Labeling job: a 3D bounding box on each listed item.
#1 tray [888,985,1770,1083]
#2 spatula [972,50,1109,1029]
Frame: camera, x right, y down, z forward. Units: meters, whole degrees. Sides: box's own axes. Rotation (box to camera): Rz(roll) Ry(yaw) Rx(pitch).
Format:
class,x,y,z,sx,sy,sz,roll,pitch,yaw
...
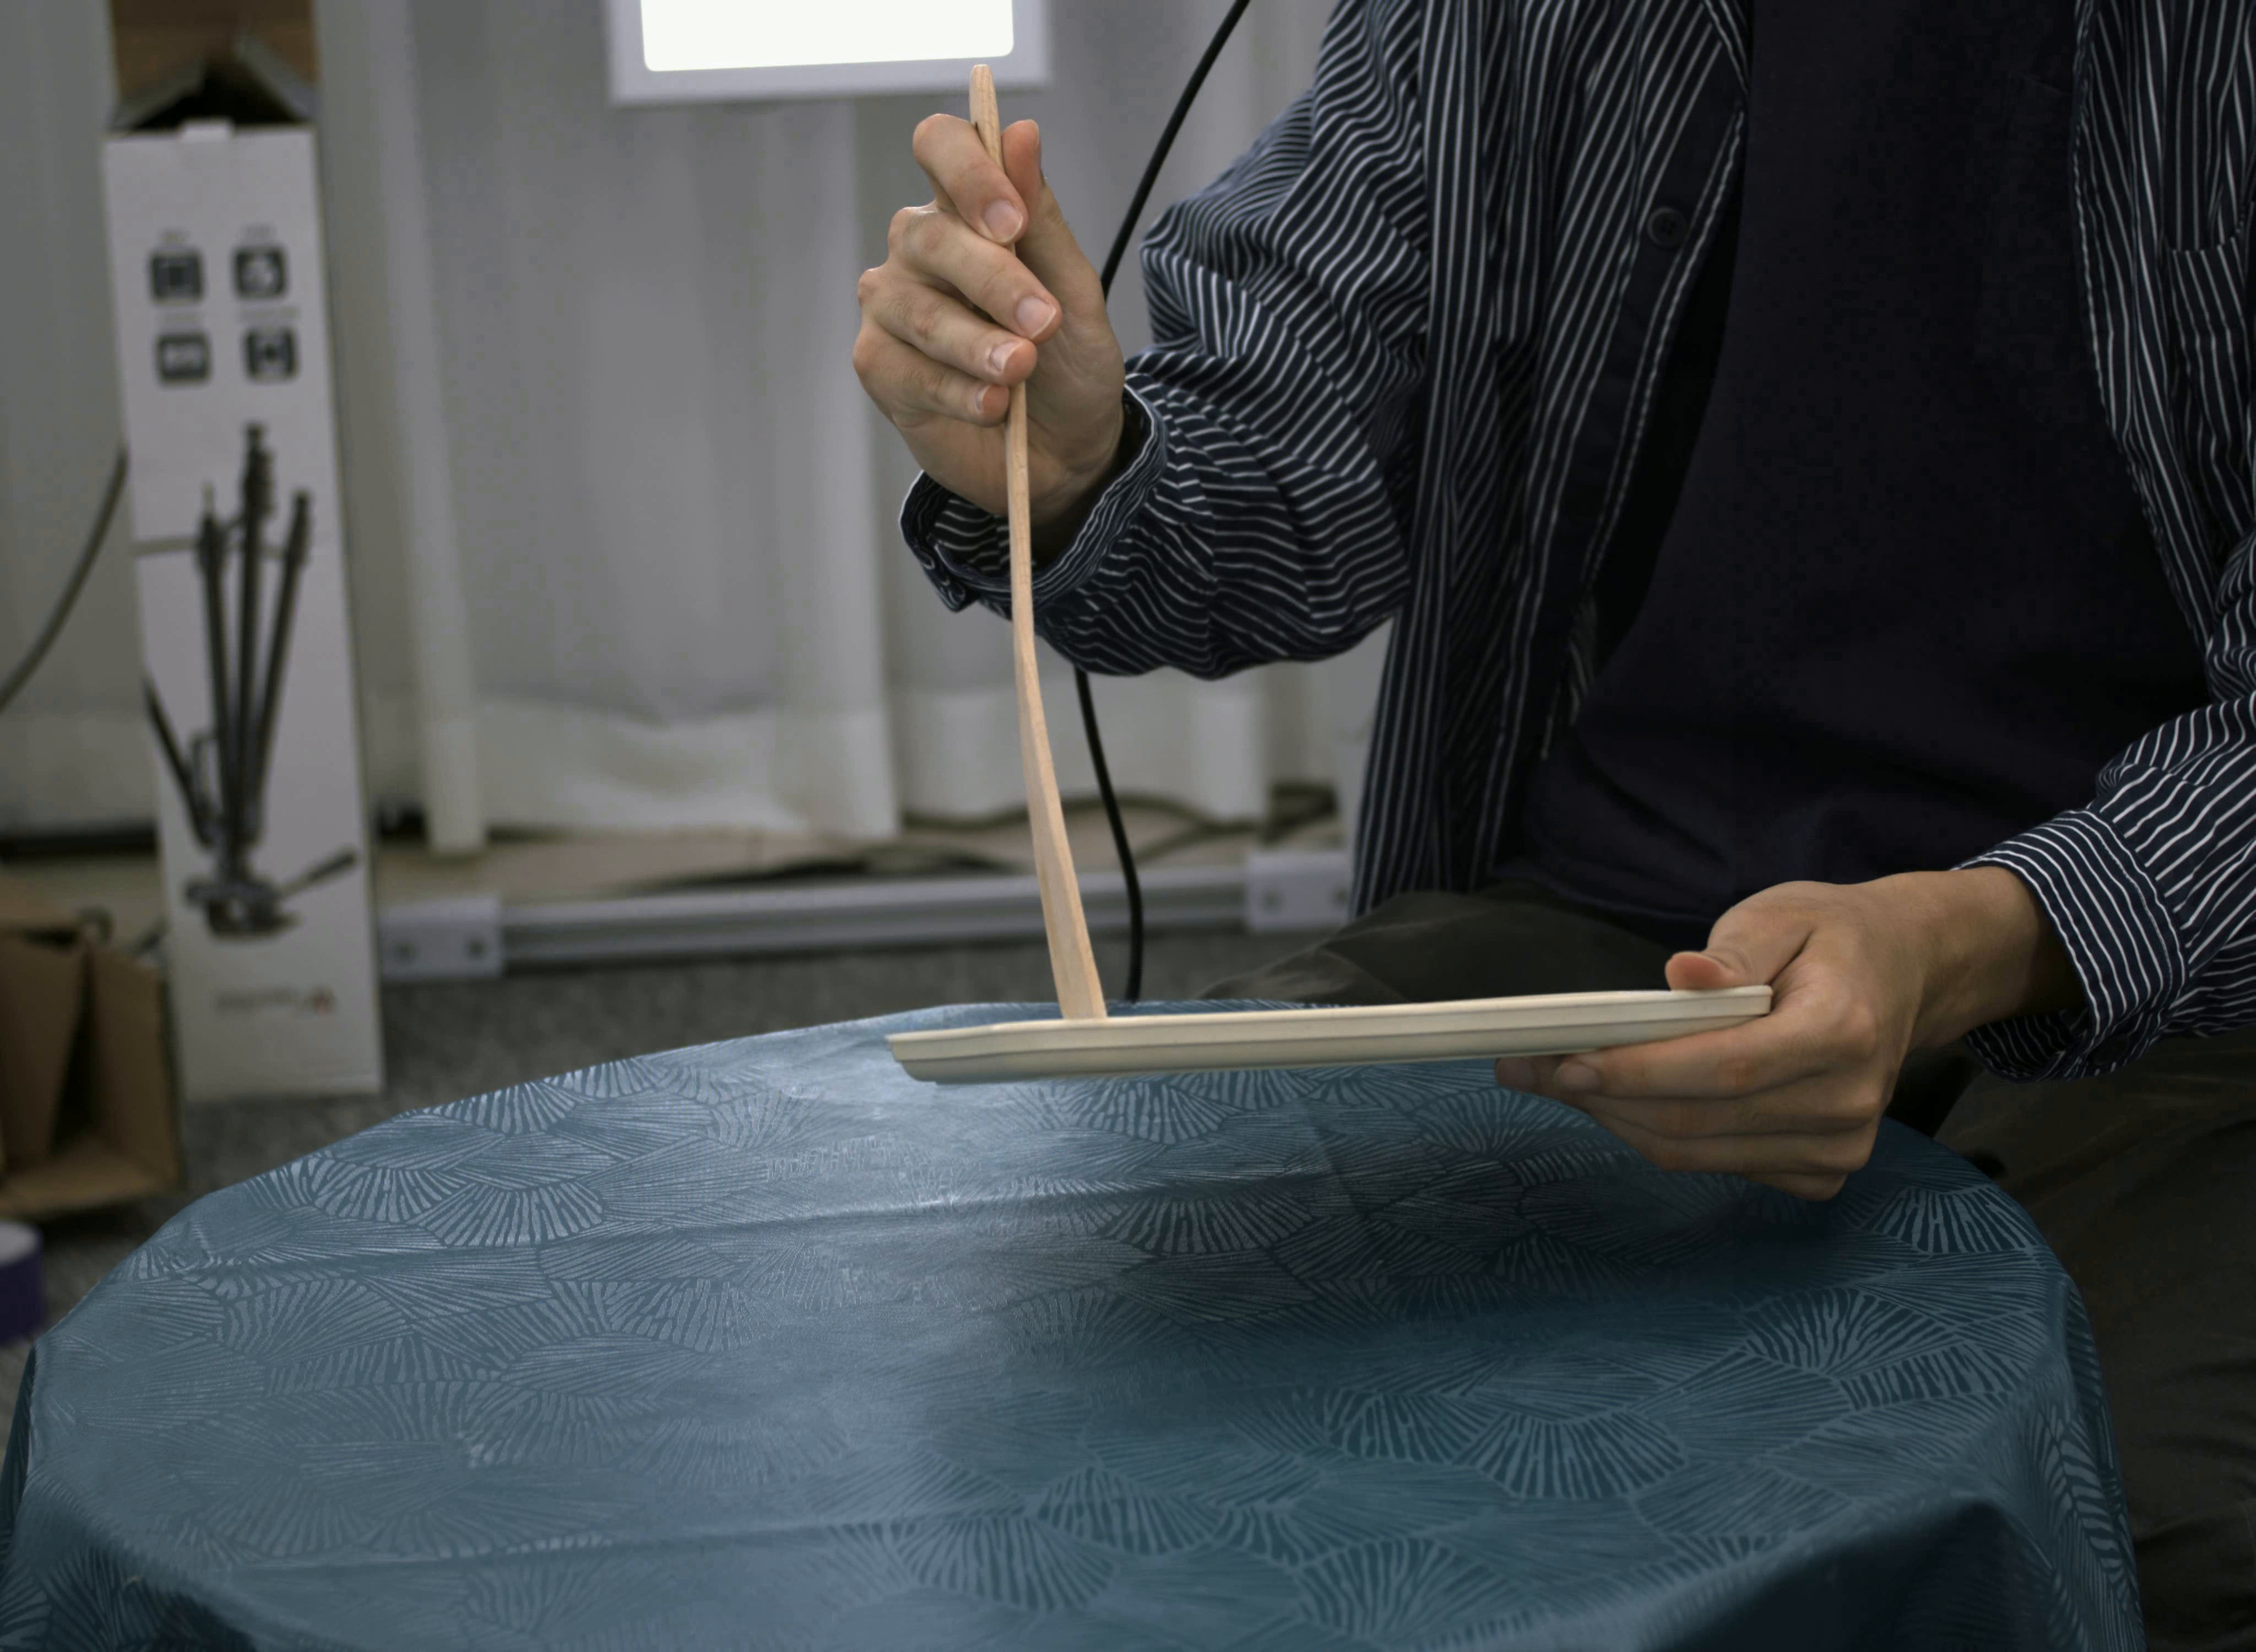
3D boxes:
class,x,y,z,sx,sy,sz,roll,pitch,yaw
tray,0.058,0.063,1.630,0.238,0.017,0.171,-2,-2,-17
spatula,-0.029,-0.084,1.669,0.016,0.331,0.079,-2,-18,-7
